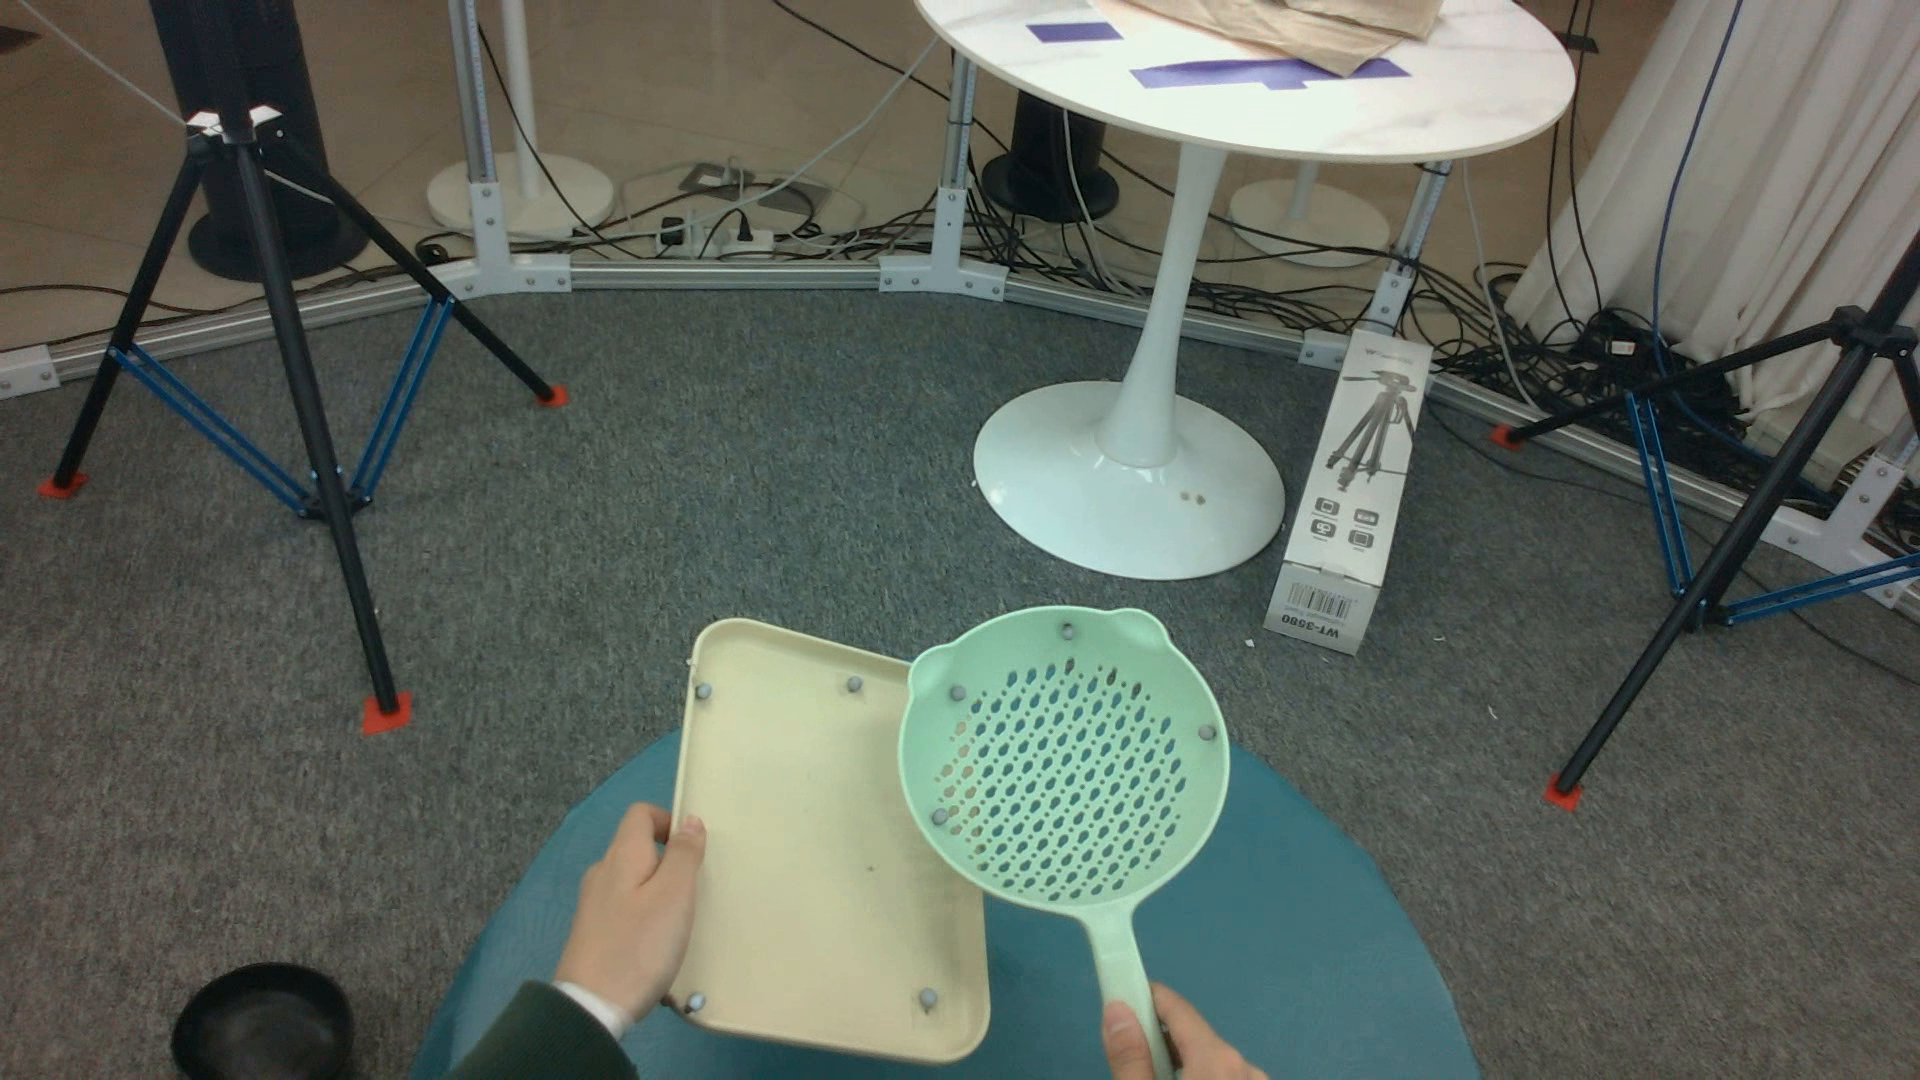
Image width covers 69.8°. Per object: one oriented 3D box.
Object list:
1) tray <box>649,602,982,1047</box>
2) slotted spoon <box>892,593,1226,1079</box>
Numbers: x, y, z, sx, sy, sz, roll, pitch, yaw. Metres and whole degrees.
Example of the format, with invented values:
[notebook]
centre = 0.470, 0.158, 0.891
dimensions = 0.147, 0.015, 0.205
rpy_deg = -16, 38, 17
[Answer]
[tray]
centre = -0.073, 0.142, 0.718
dimensions = 0.171, 0.017, 0.241
rpy_deg = 17, 43, -21
[slotted spoon]
centre = 0.068, 0.184, 0.656
dimensions = 0.169, 0.075, 0.360
rpy_deg = -10, 48, -4
